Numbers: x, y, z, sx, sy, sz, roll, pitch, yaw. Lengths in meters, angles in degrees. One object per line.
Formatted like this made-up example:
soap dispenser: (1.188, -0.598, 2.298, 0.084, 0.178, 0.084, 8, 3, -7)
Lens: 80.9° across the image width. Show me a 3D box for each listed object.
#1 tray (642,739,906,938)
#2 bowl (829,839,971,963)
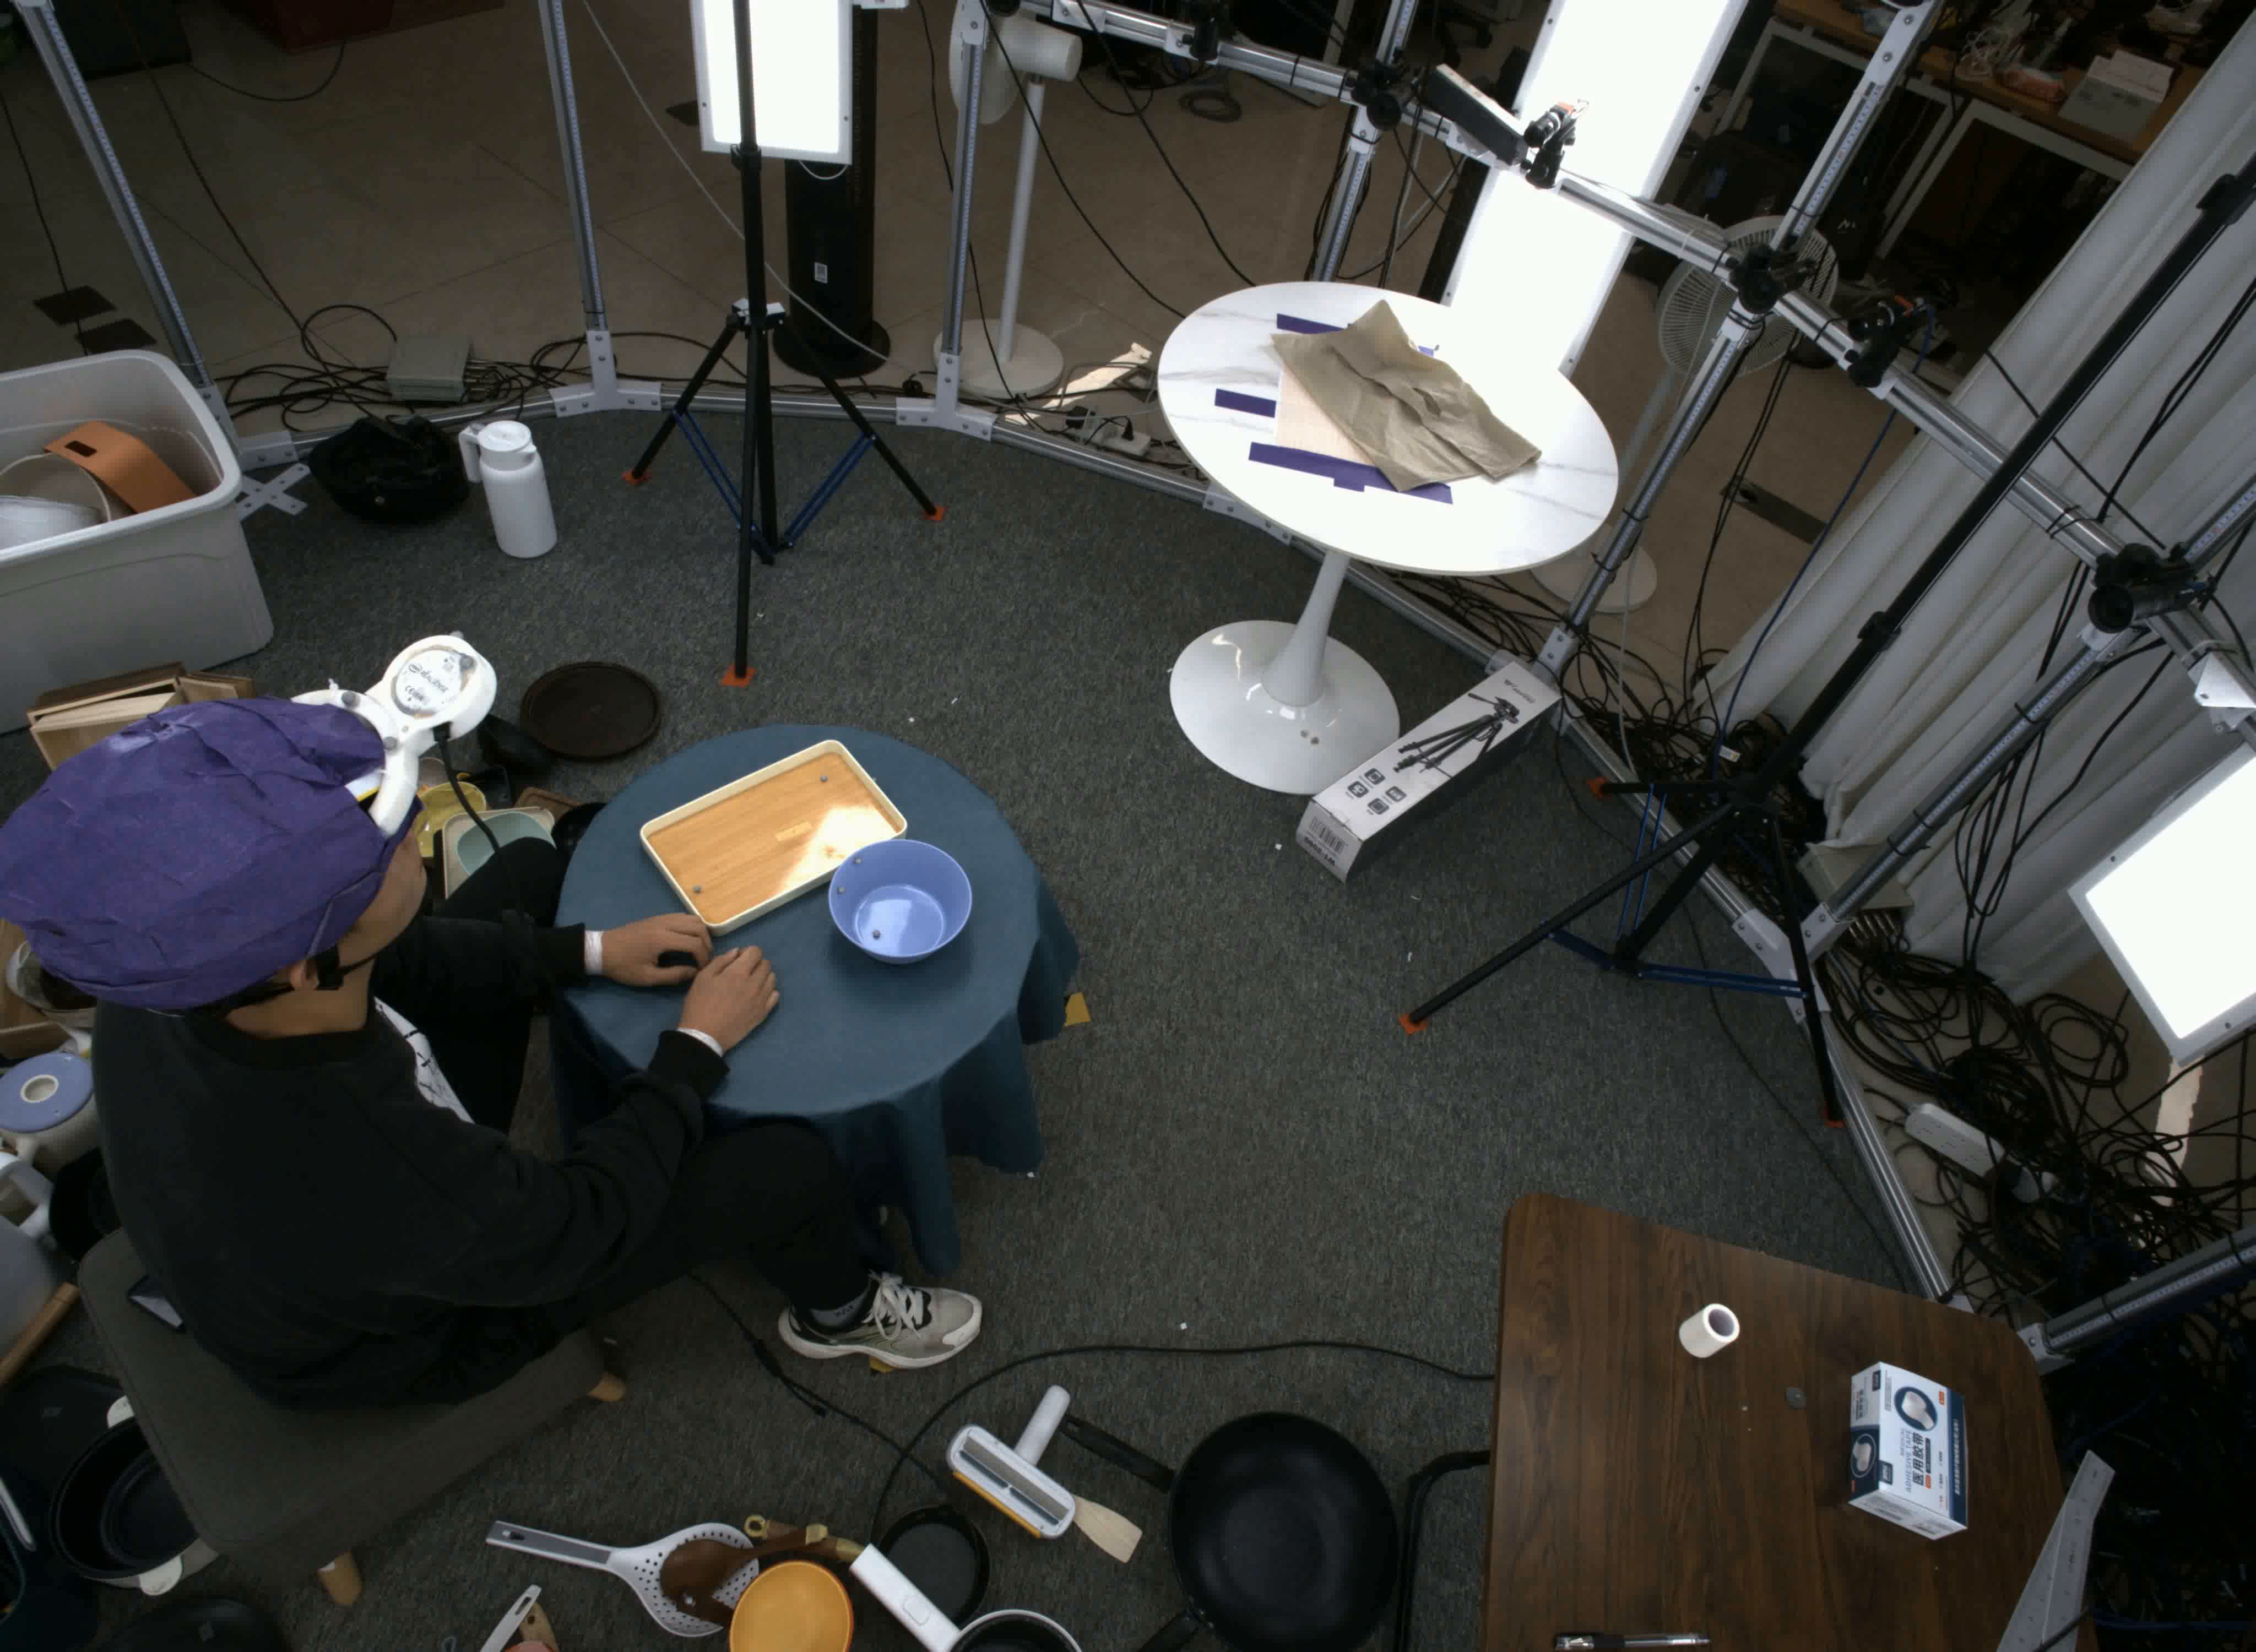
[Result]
tray: (-0.461, 0.009, 1.696, 0.301, 0.028, 0.187, -30, 66, -31)
bowl: (-0.286, 0.104, 1.641, 0.175, 0.072, 0.173, 7, 51, -7)
